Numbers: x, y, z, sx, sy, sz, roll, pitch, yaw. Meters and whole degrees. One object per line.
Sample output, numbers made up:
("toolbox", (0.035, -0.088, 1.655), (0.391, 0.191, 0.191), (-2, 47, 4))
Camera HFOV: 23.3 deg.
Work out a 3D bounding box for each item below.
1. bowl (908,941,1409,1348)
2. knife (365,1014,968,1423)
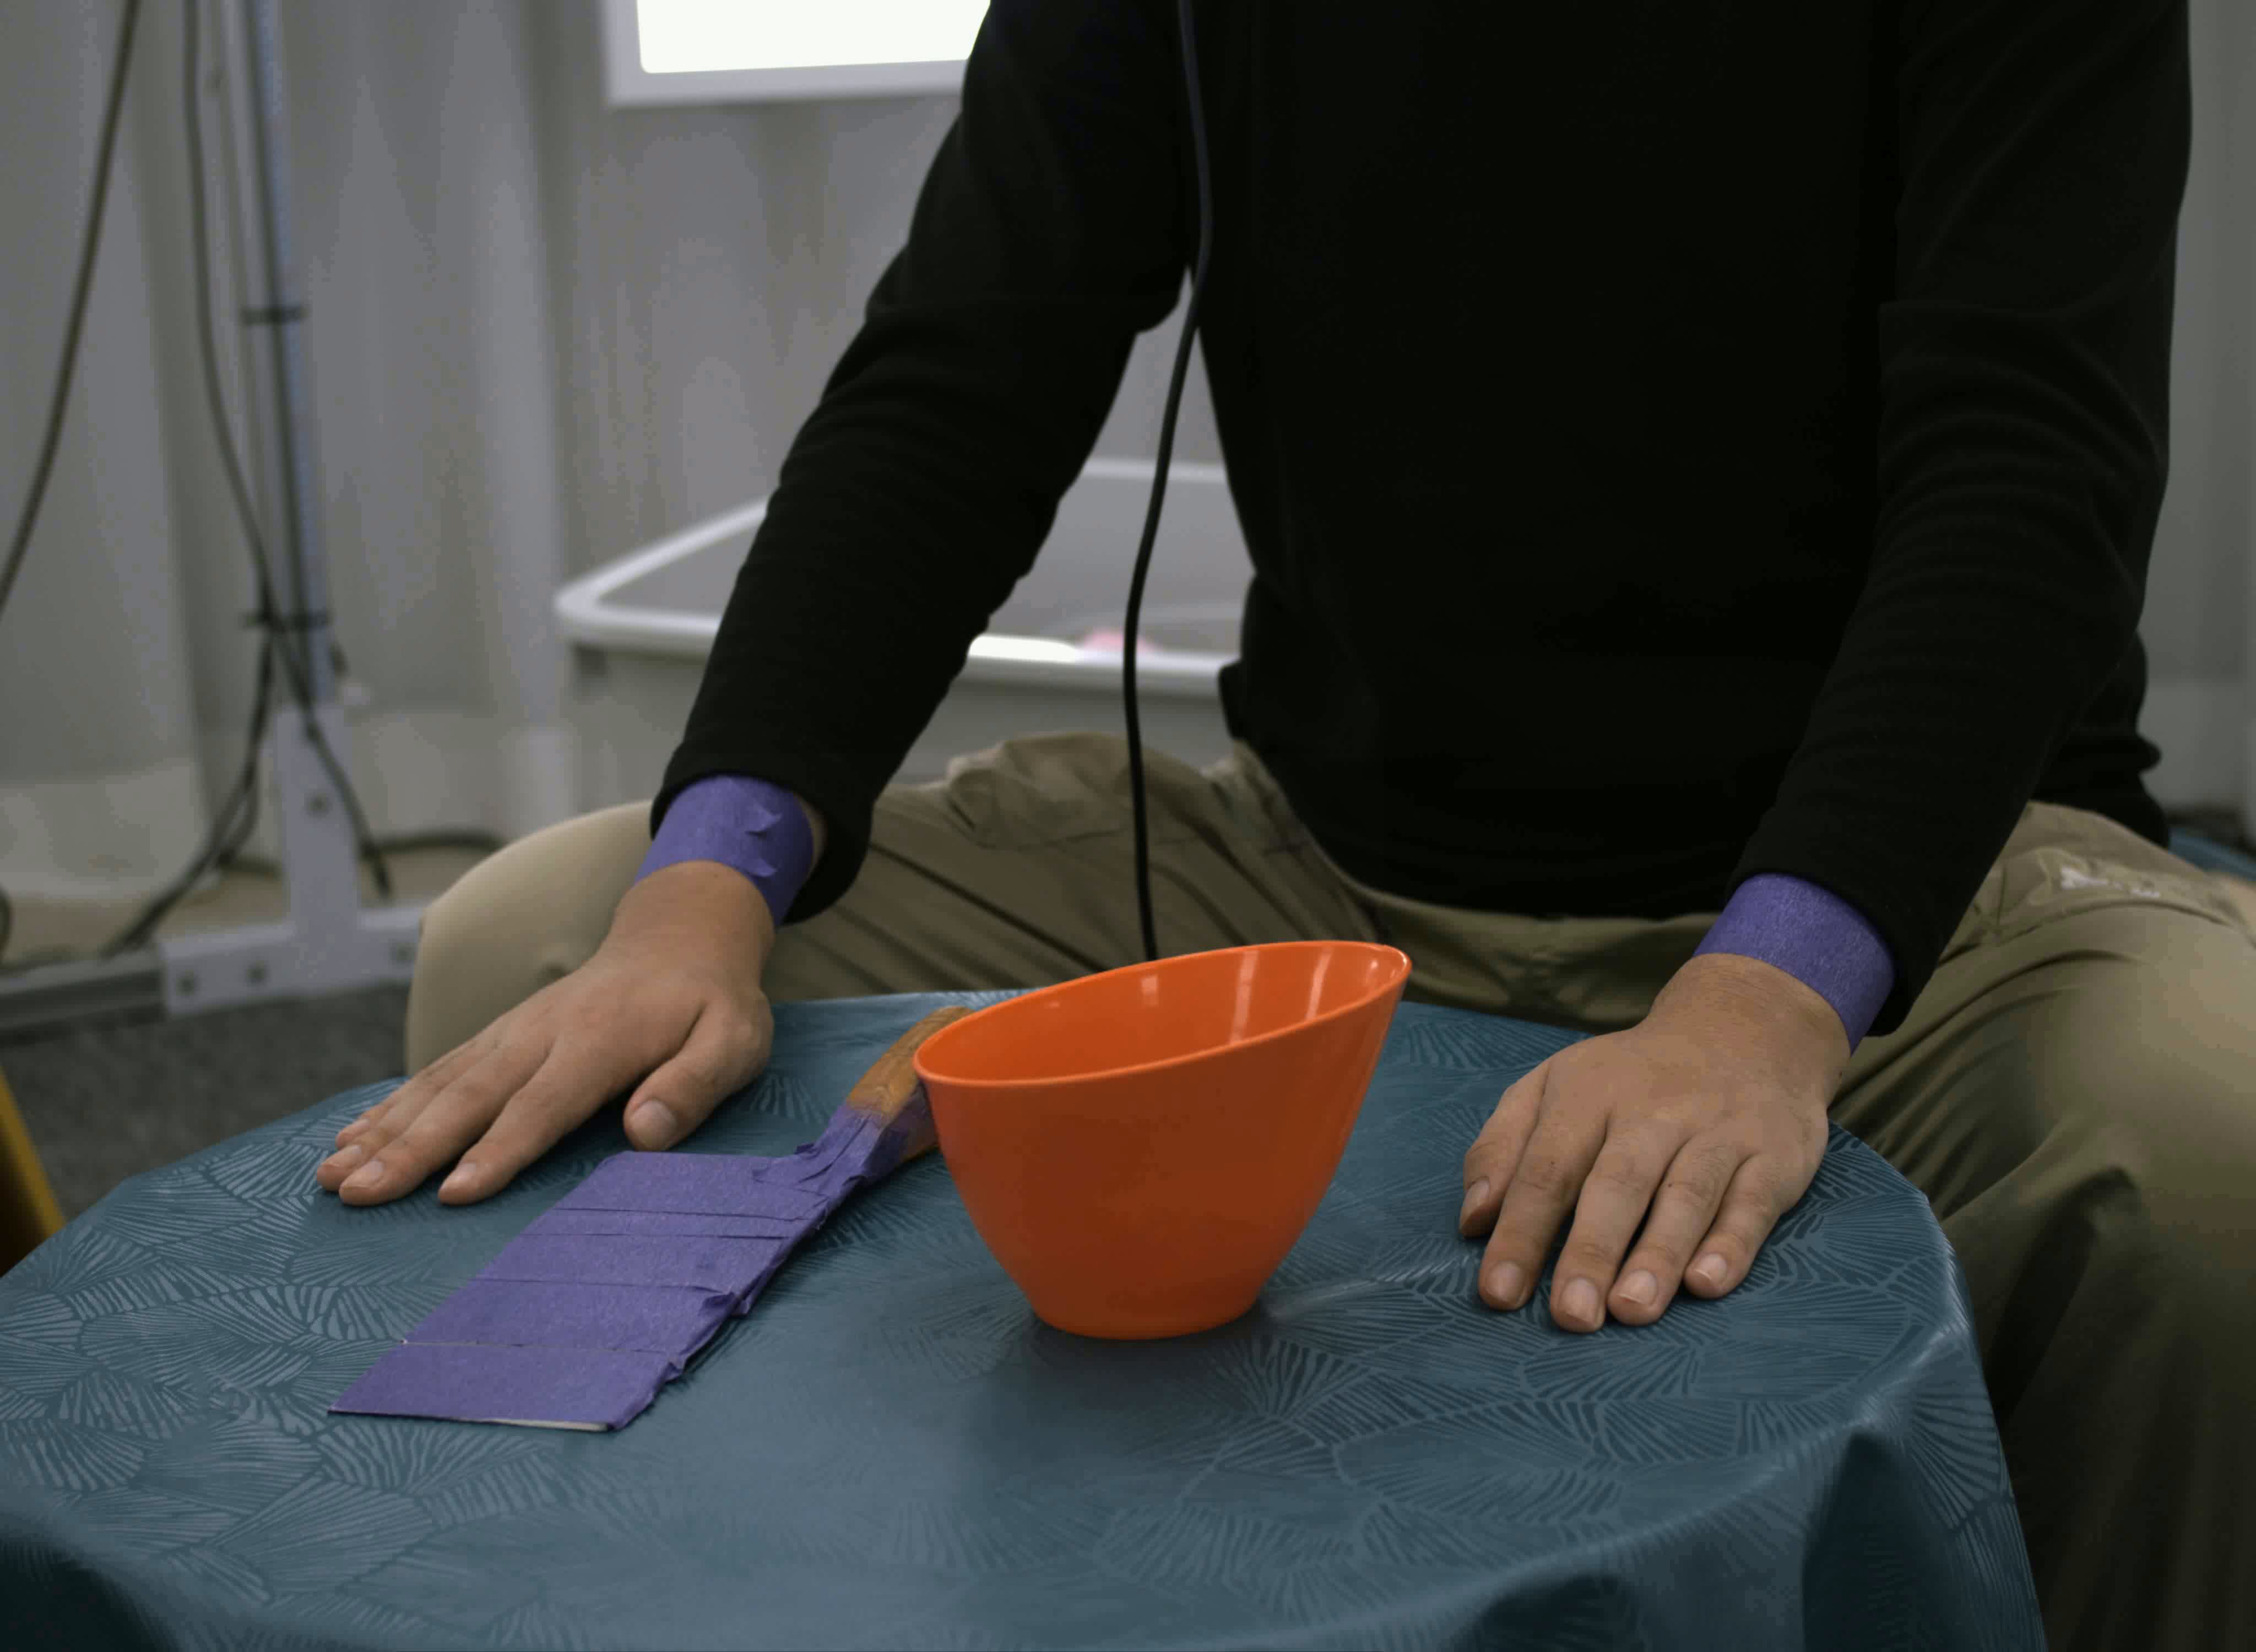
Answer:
("bowl", (0.011, 0.094, 1.596), (0.147, 0.104, 0.149), (-4, 15, 1))
("knife", (-0.136, 0.117, 1.680), (0.104, 0.032, 0.316), (2, 16, 18))
